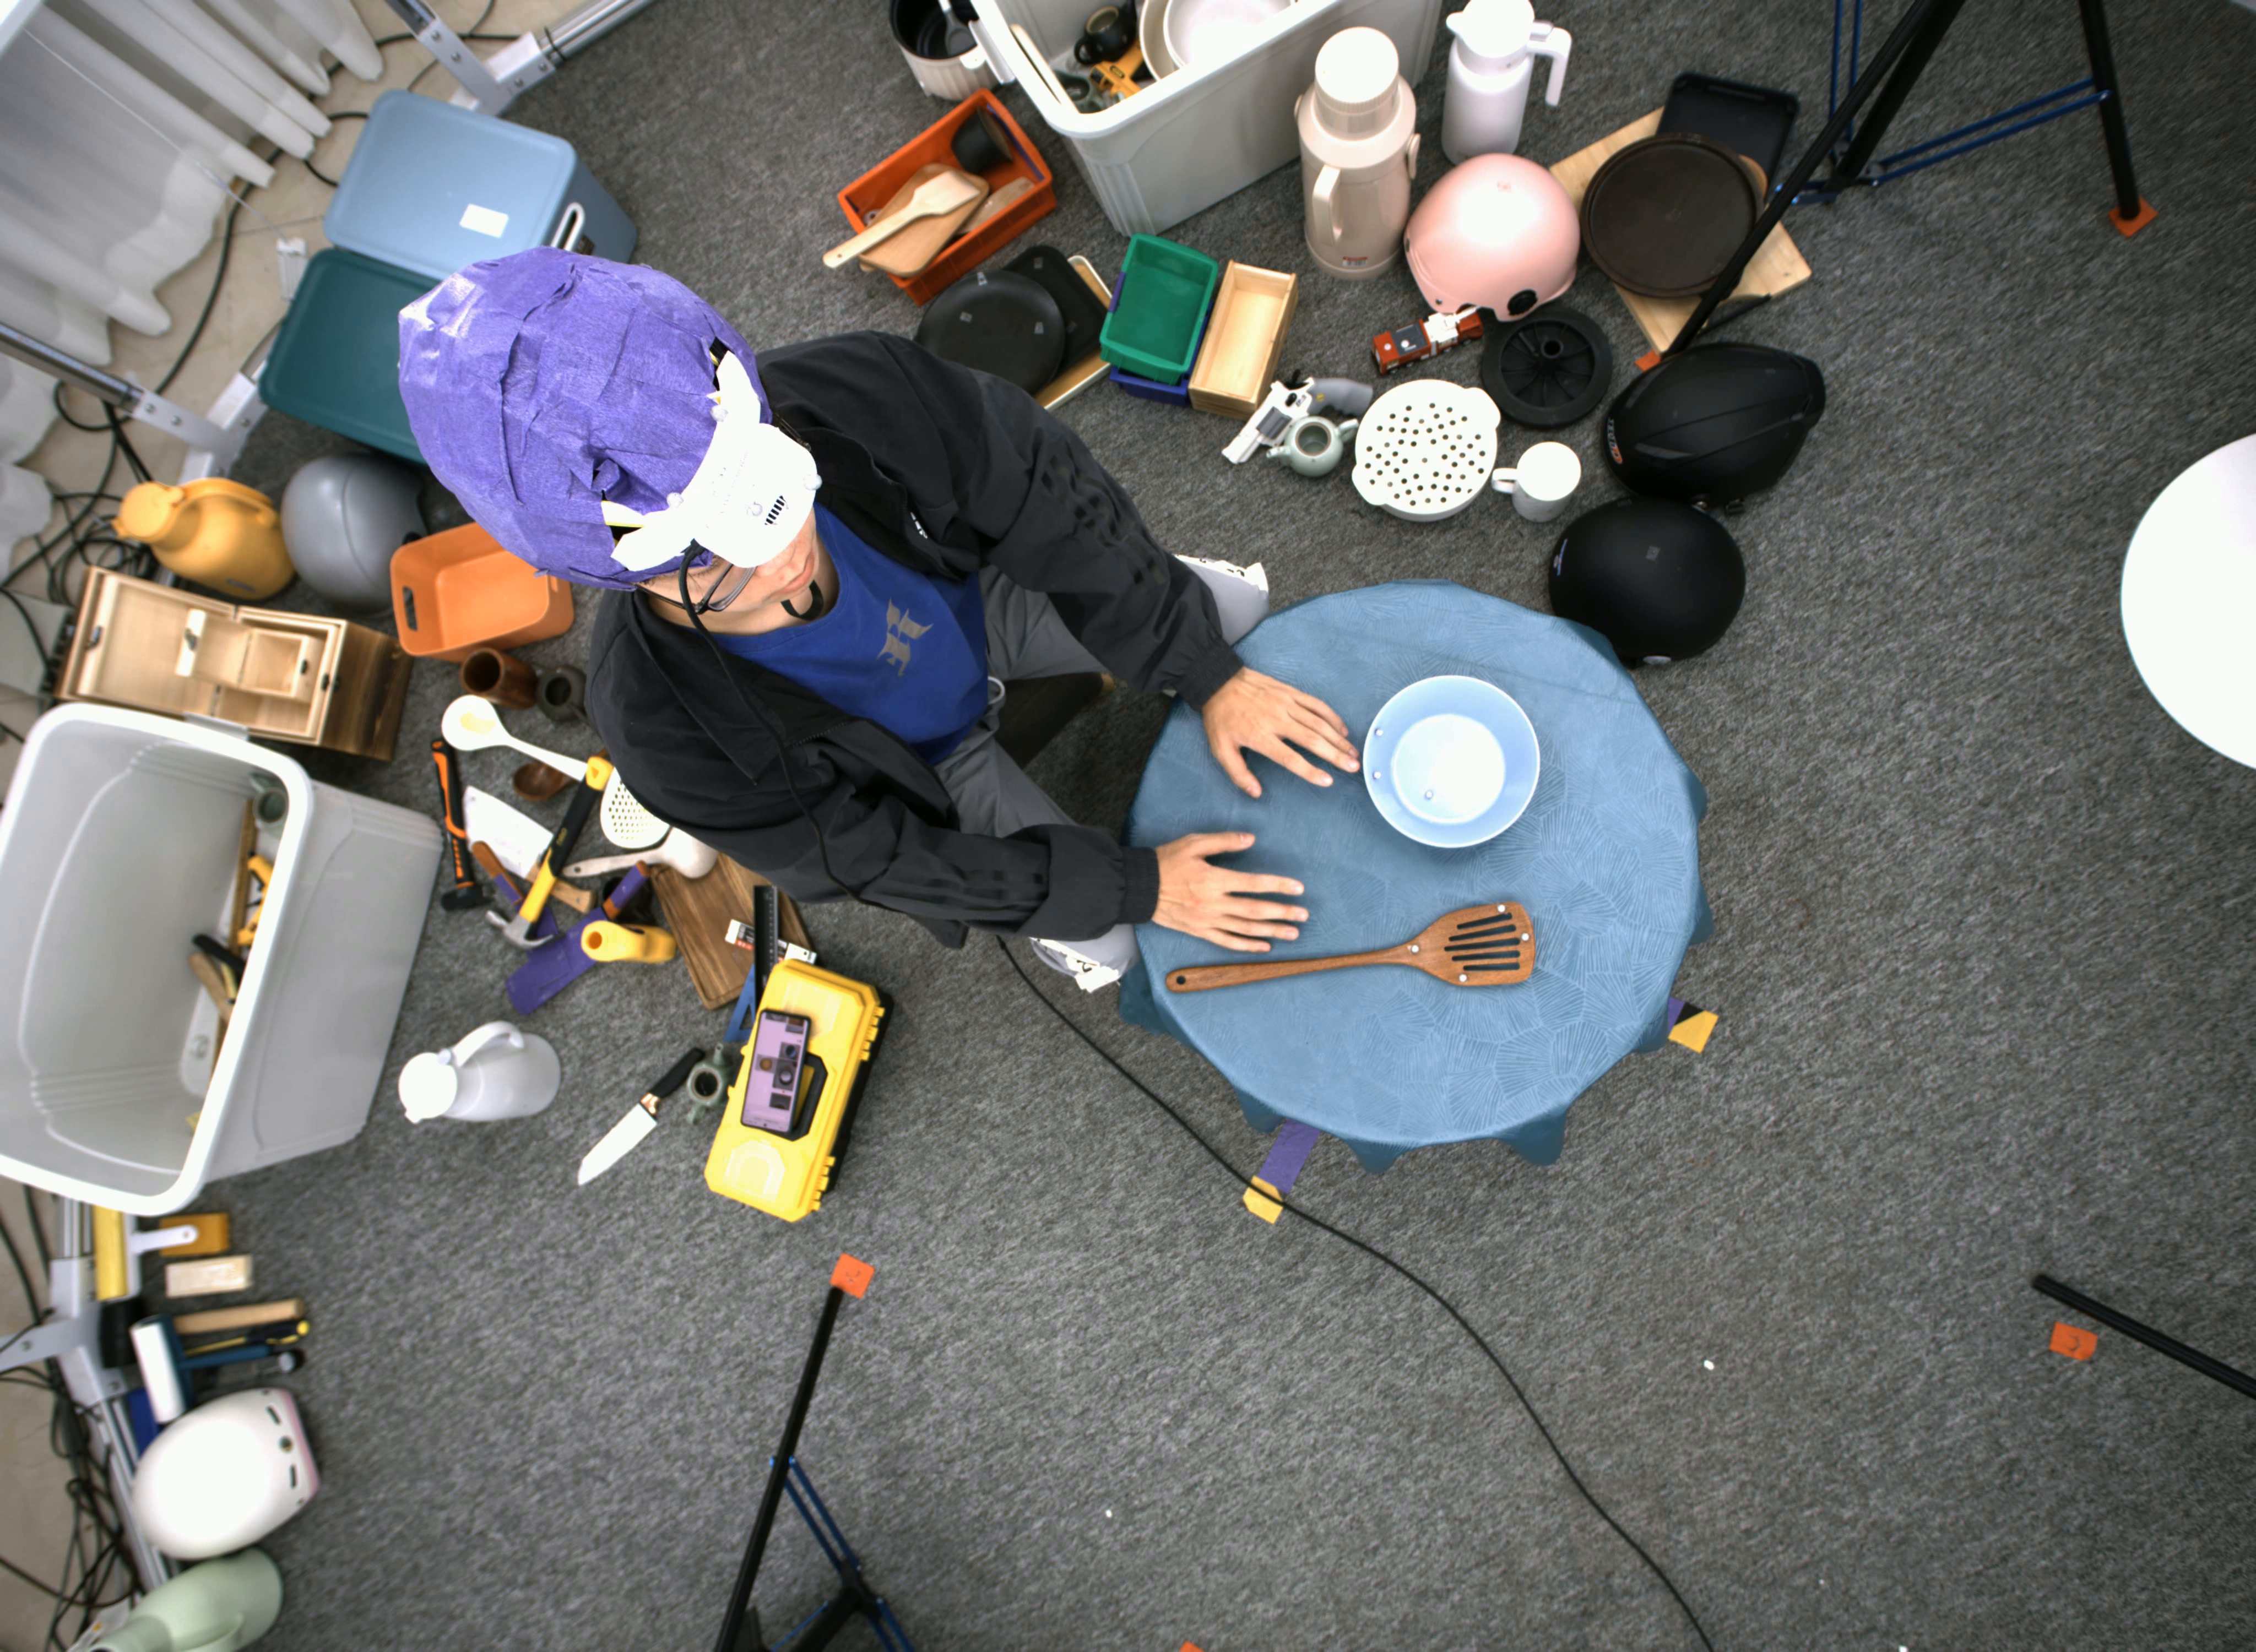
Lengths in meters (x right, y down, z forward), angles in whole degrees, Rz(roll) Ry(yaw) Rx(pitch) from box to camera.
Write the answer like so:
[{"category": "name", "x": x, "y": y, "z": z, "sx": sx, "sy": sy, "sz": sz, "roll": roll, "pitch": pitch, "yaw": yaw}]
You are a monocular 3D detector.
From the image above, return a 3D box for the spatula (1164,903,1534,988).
[{"category": "spatula", "x": 0.227, "y": 0.140, "z": 1.453, "sx": 0.389, "sy": 0.024, "sz": 0.085, "roll": -7, "pitch": 85, "yaw": 12}]

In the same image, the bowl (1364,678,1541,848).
[{"category": "bowl", "x": 0.333, "y": -0.063, "z": 1.417, "sx": 0.177, "sy": 0.070, "sz": 0.175, "roll": -1, "pitch": 86, "yaw": 12}]
